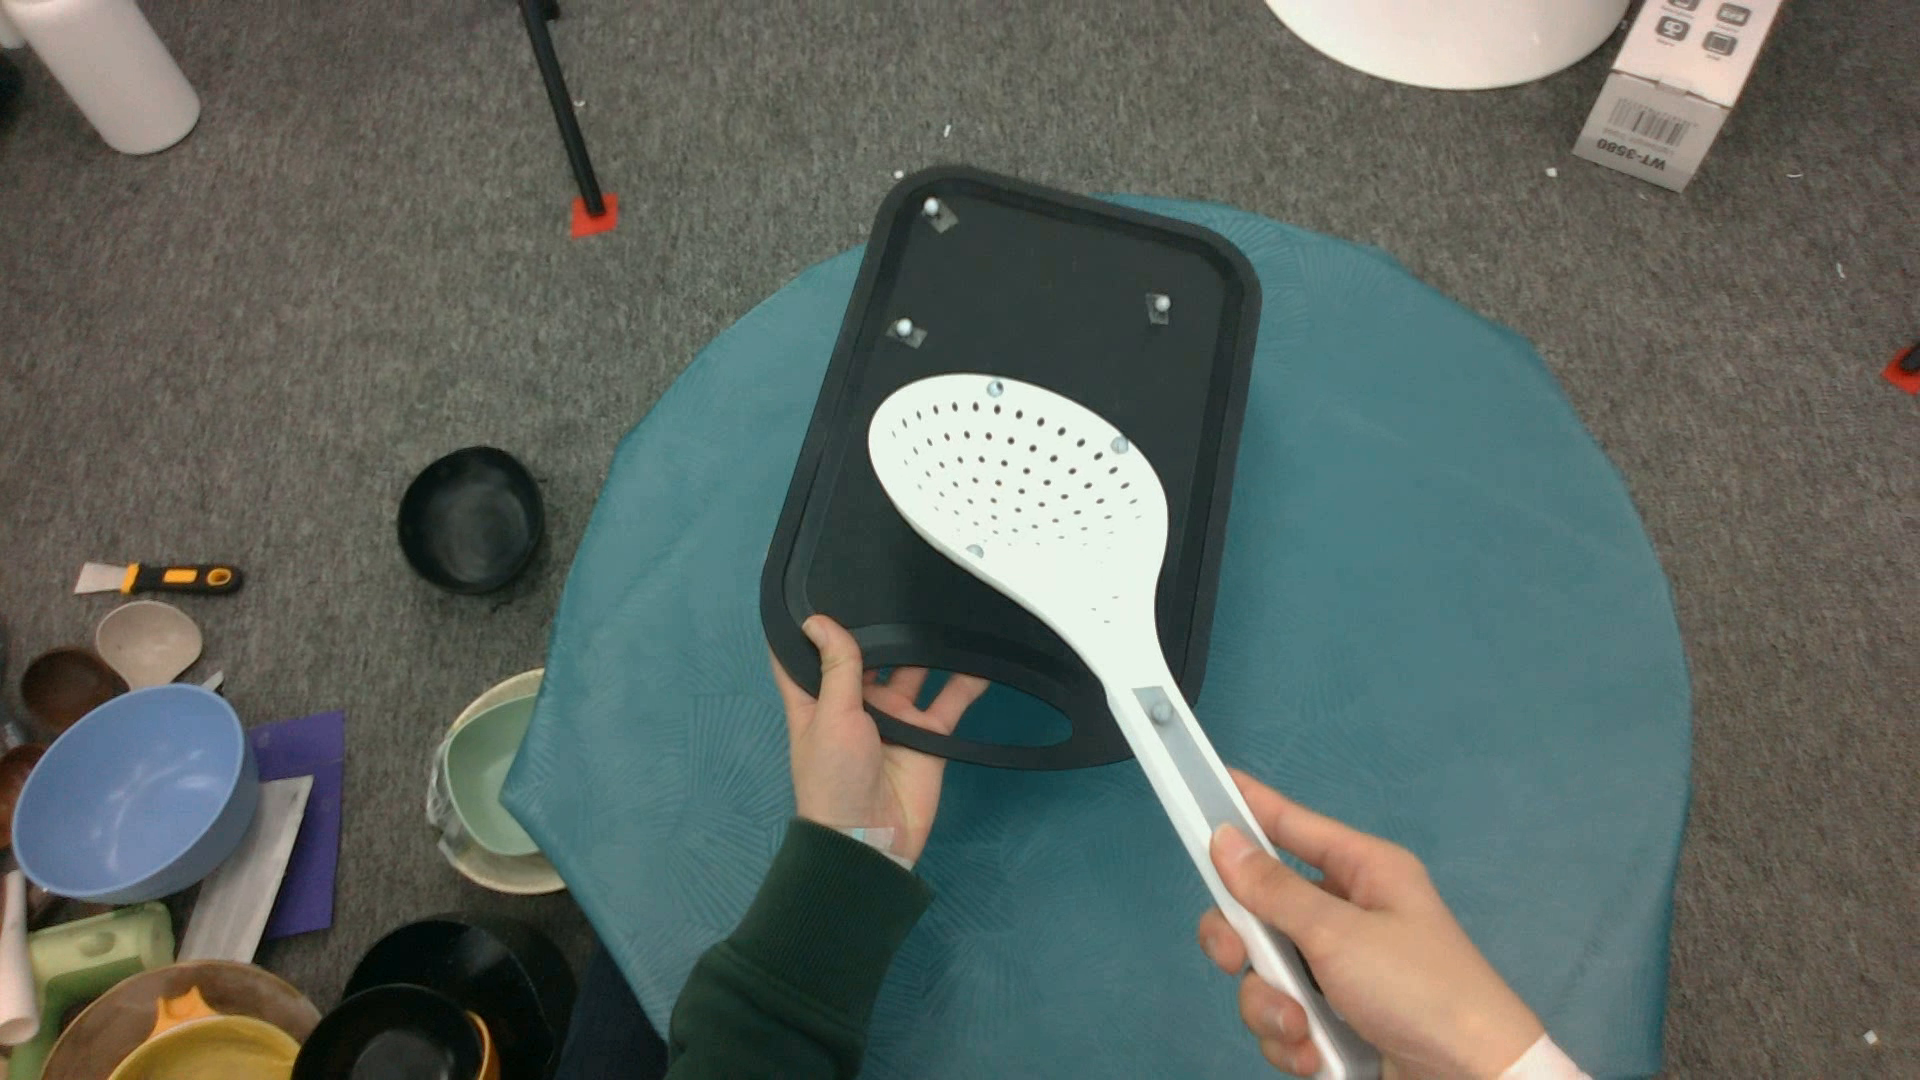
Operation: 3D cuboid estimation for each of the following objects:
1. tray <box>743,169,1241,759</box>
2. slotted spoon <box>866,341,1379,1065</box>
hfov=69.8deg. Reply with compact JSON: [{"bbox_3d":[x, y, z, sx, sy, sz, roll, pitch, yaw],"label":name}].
[{"bbox_3d":[0.024,-0.049,0.677,0.211,0.010,0.327,13,62,0],"label":"tray"},{"bbox_3d":[0.061,0.038,0.539,0.136,0.045,0.350,-3,42,-27],"label":"slotted spoon"}]
